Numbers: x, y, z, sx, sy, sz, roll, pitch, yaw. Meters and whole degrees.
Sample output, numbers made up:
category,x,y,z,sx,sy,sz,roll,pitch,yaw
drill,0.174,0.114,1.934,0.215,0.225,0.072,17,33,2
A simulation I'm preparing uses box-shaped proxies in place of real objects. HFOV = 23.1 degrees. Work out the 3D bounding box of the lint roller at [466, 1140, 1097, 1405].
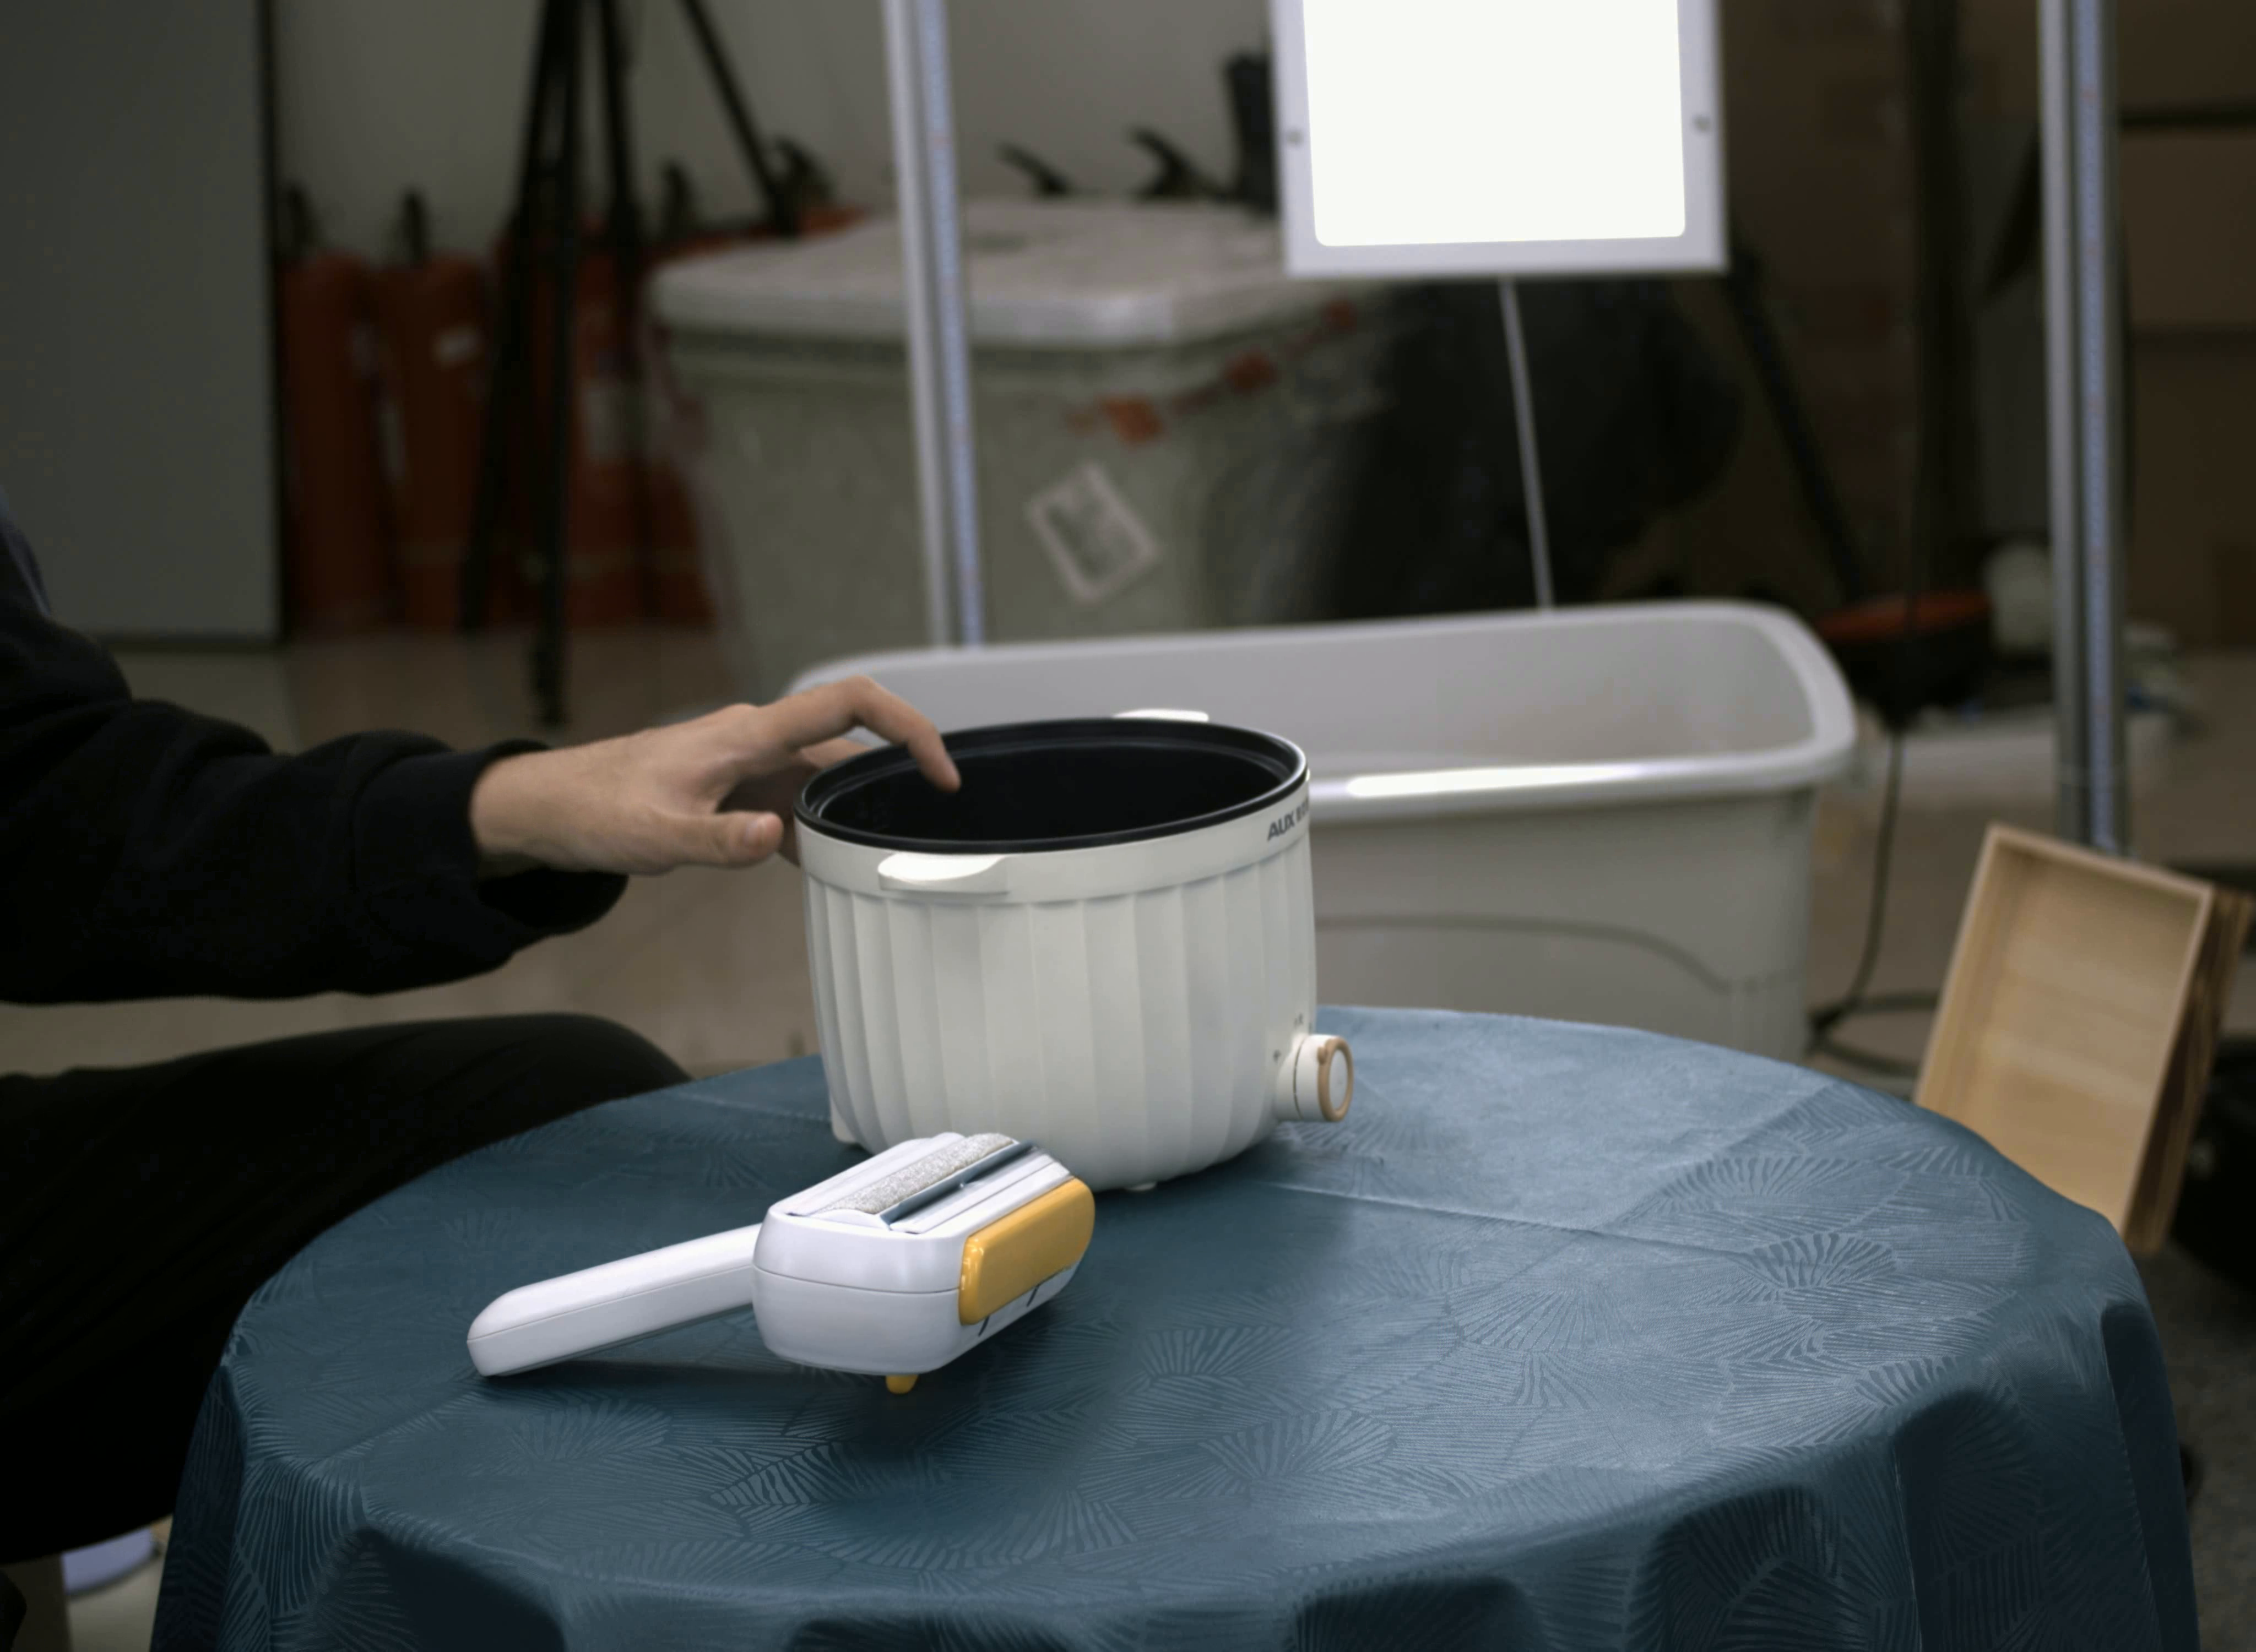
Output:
category,x,y,z,sx,sy,sz,roll,pitch,yaw
lint roller,-0.120,0.142,1.735,0.195,0.074,0.190,-2,8,19

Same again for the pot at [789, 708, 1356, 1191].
category,x,y,z,sx,sy,sz,roll,pitch,yaw
pot,-0.017,0.047,1.932,0.193,0.143,0.236,-2,15,23
